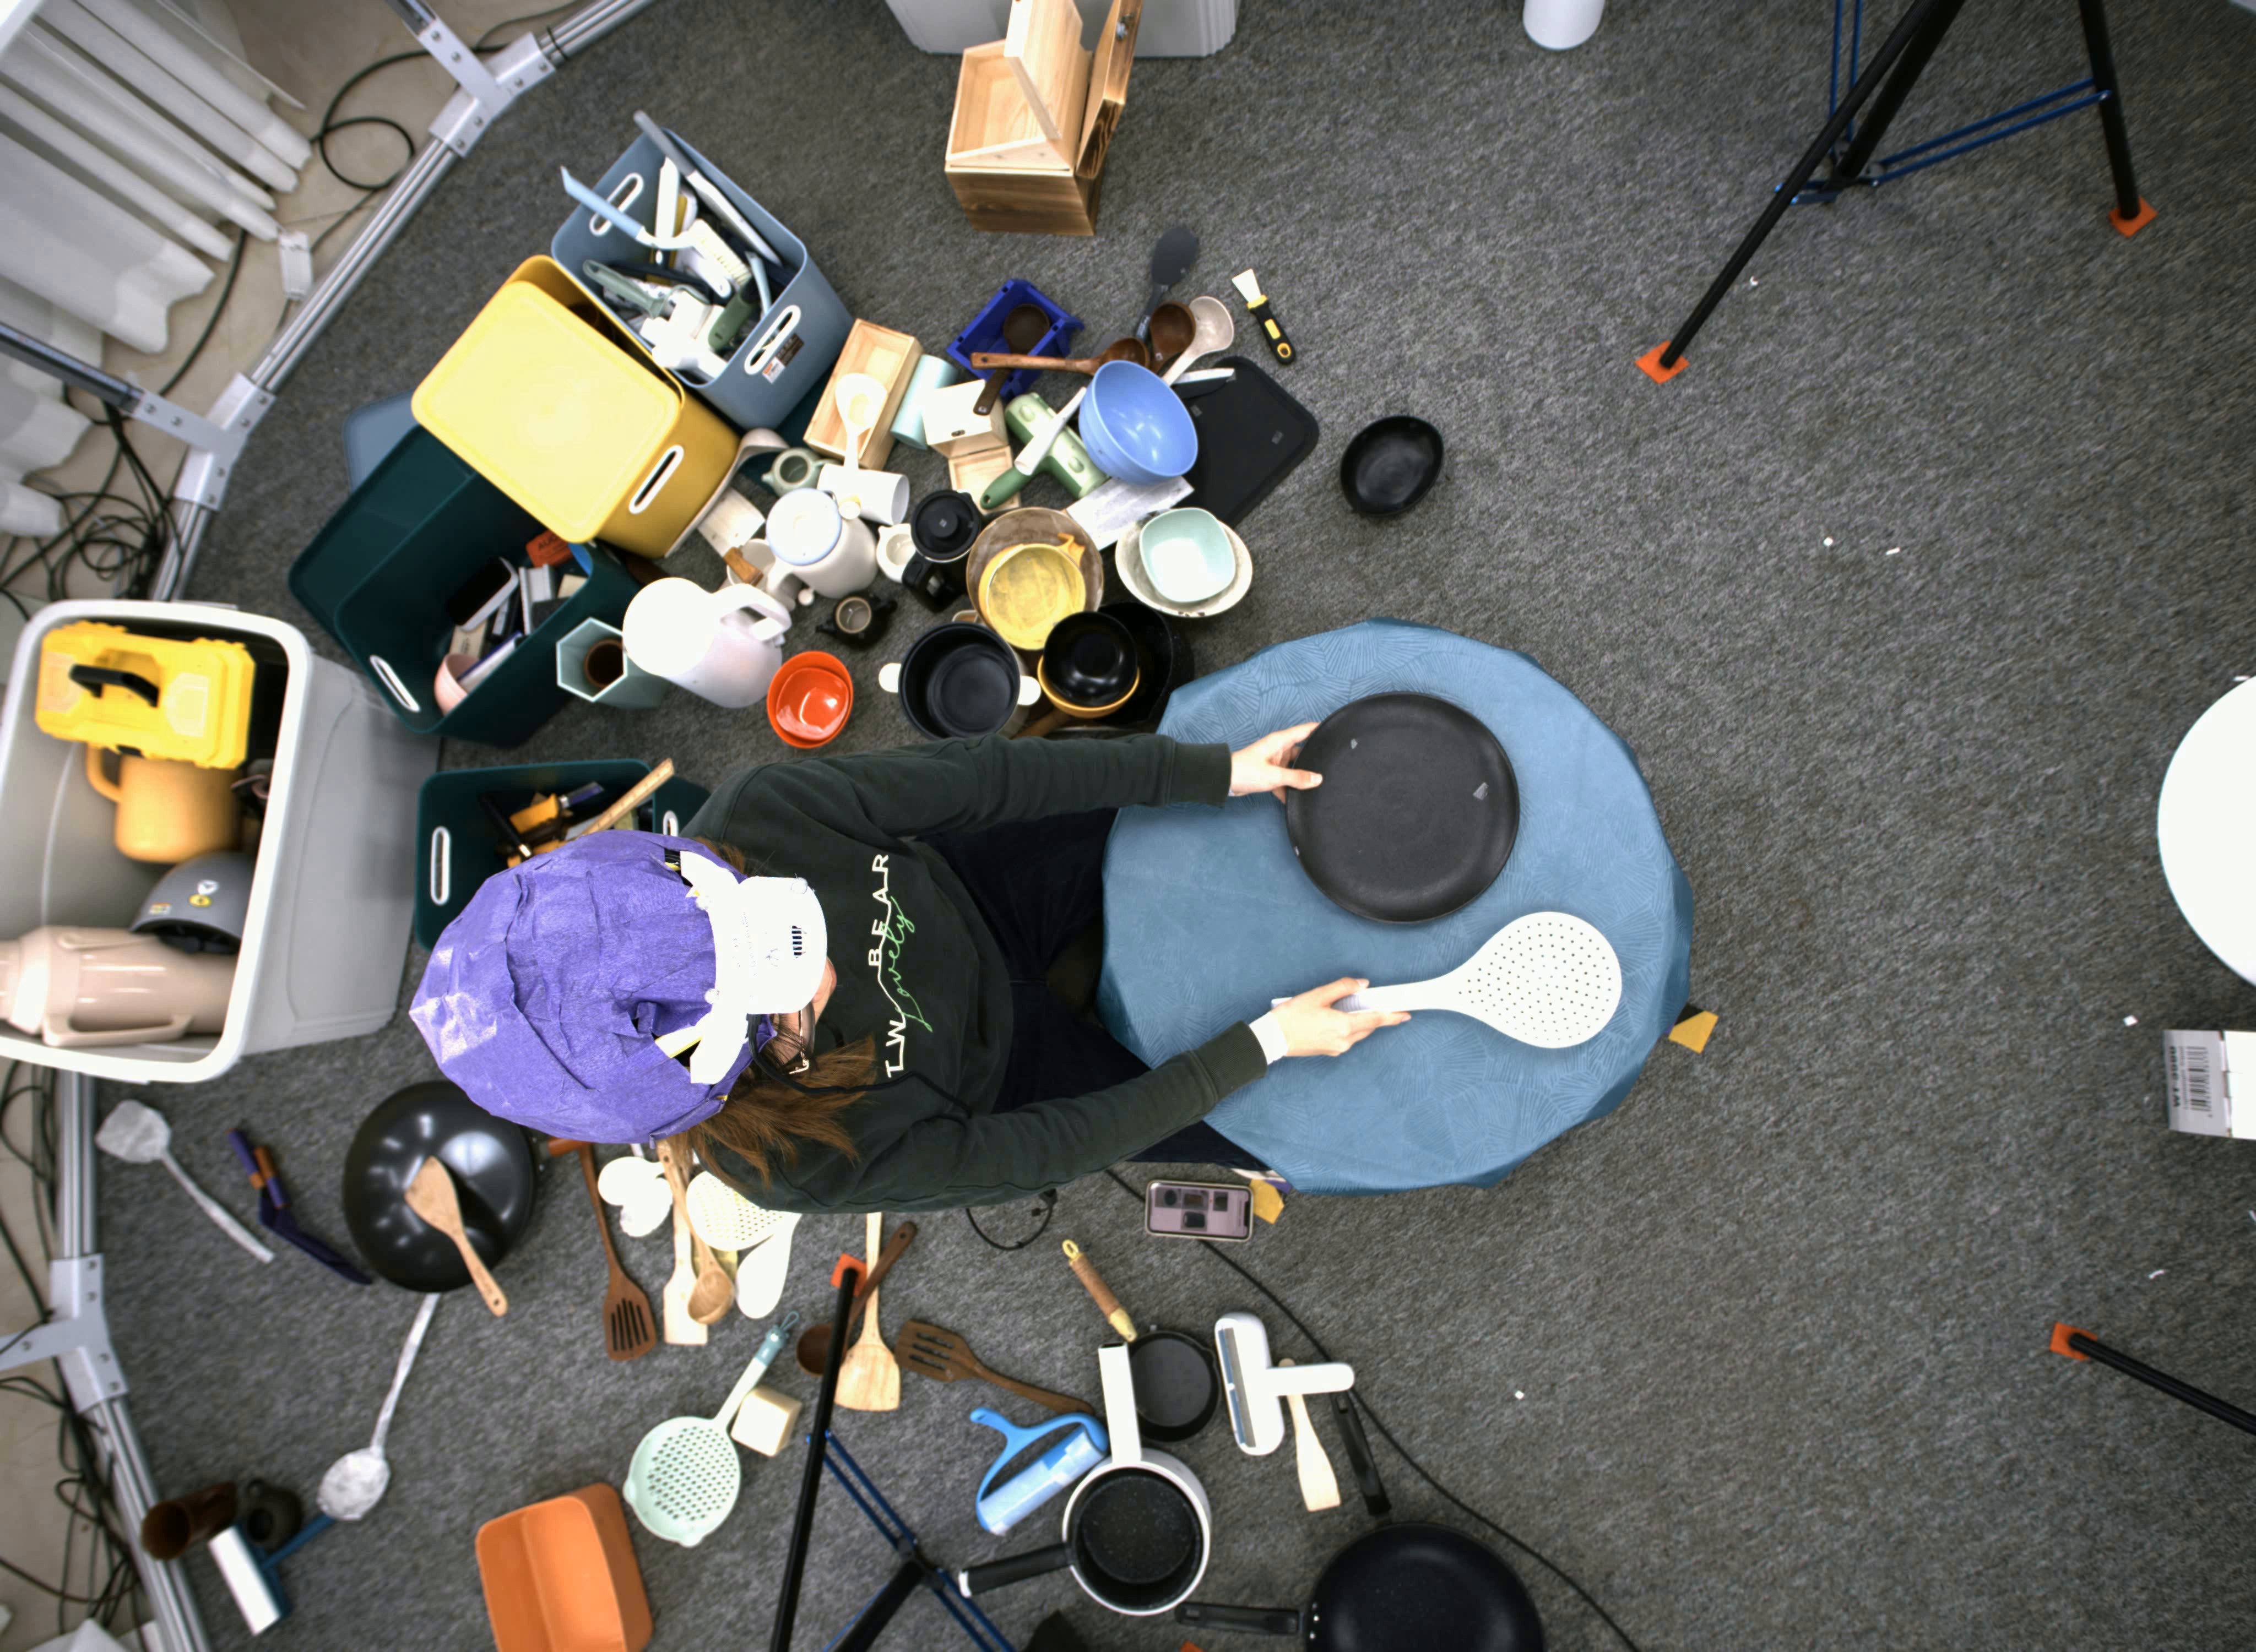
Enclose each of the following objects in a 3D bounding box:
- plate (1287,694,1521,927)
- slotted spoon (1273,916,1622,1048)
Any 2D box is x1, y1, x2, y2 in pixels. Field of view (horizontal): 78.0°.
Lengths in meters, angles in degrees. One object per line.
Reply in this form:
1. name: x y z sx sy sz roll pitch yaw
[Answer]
1. plate: 0.288 -0.018 1.444 0.245 0.023 0.244 0 90 4
2. slotted spoon: 0.324 0.172 1.415 0.351 0.046 0.134 -7 73 6
